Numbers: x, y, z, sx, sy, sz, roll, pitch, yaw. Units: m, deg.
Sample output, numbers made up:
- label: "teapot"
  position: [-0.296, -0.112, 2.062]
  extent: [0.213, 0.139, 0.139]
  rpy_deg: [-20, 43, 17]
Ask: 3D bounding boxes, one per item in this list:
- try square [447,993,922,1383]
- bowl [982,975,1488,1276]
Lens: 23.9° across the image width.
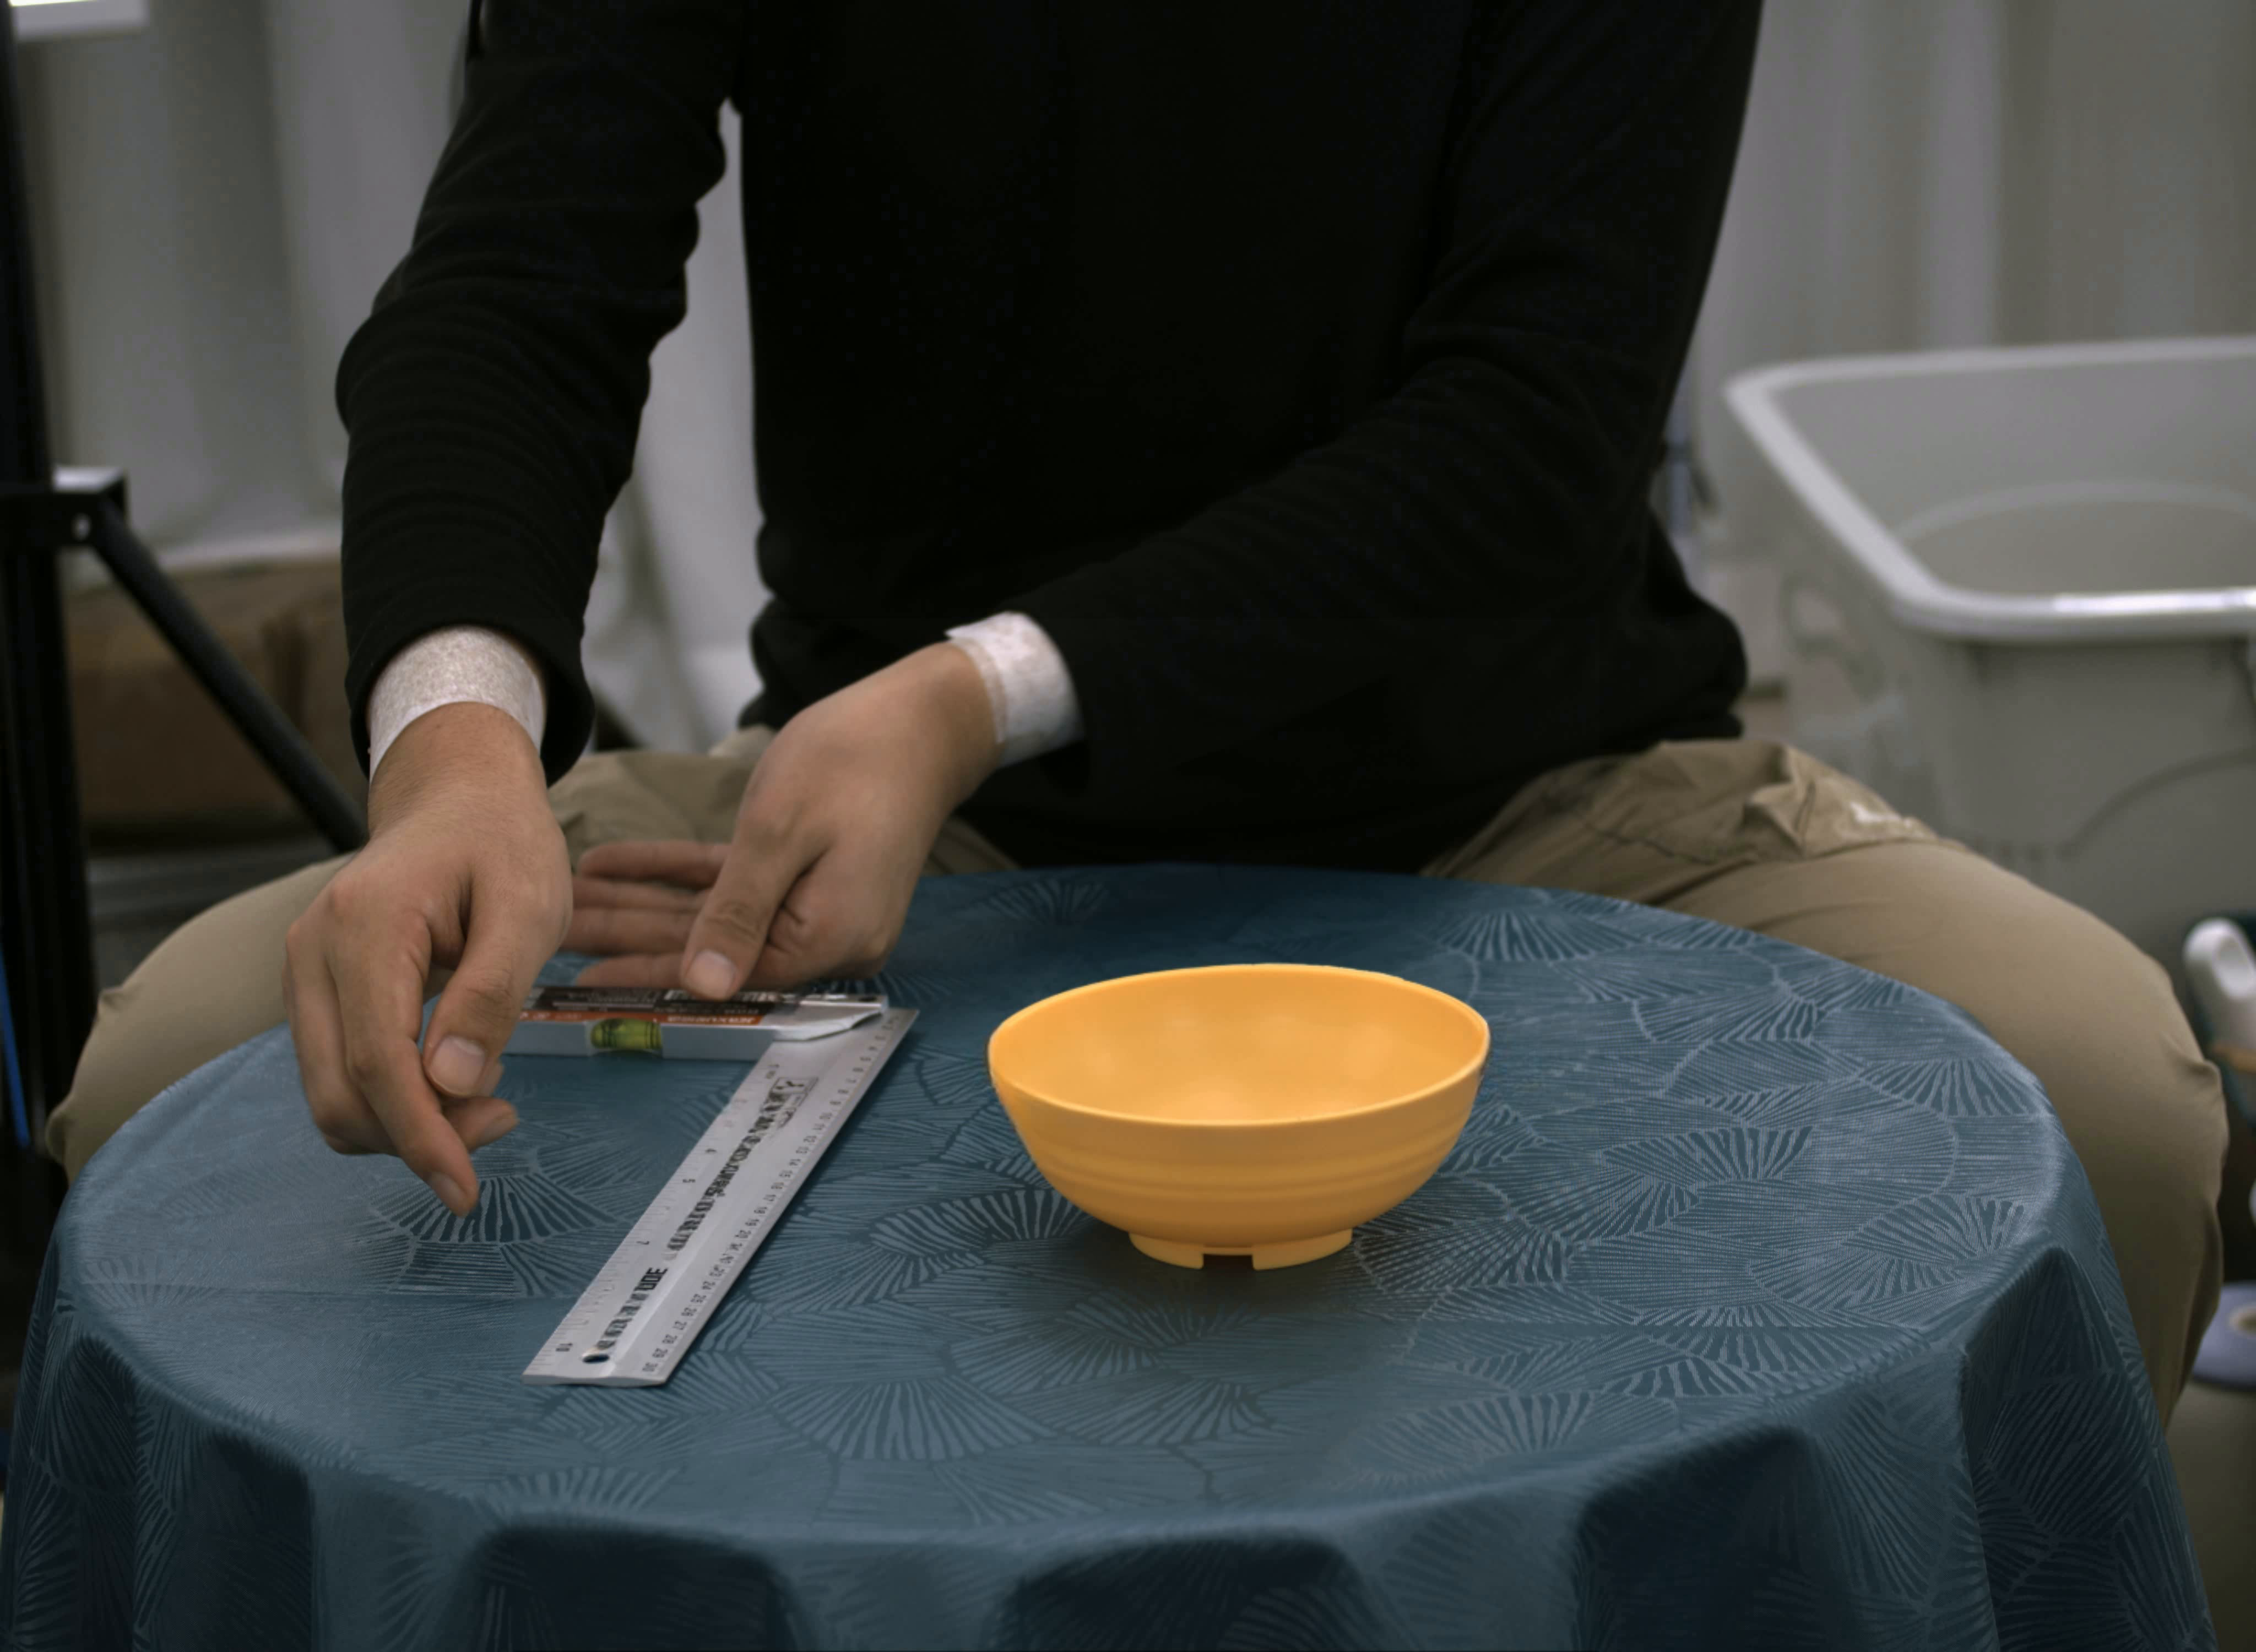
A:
- label: "try square"
  position: [-0.167, 0.105, 1.588]
  extent: [0.153, 0.016, 0.311]
  rpy_deg: [-1, 17, 12]
- label: "bowl"
  position: [0.030, 0.090, 1.514]
  extent: [0.144, 0.060, 0.146]
  rpy_deg: [0, 14, -1]
